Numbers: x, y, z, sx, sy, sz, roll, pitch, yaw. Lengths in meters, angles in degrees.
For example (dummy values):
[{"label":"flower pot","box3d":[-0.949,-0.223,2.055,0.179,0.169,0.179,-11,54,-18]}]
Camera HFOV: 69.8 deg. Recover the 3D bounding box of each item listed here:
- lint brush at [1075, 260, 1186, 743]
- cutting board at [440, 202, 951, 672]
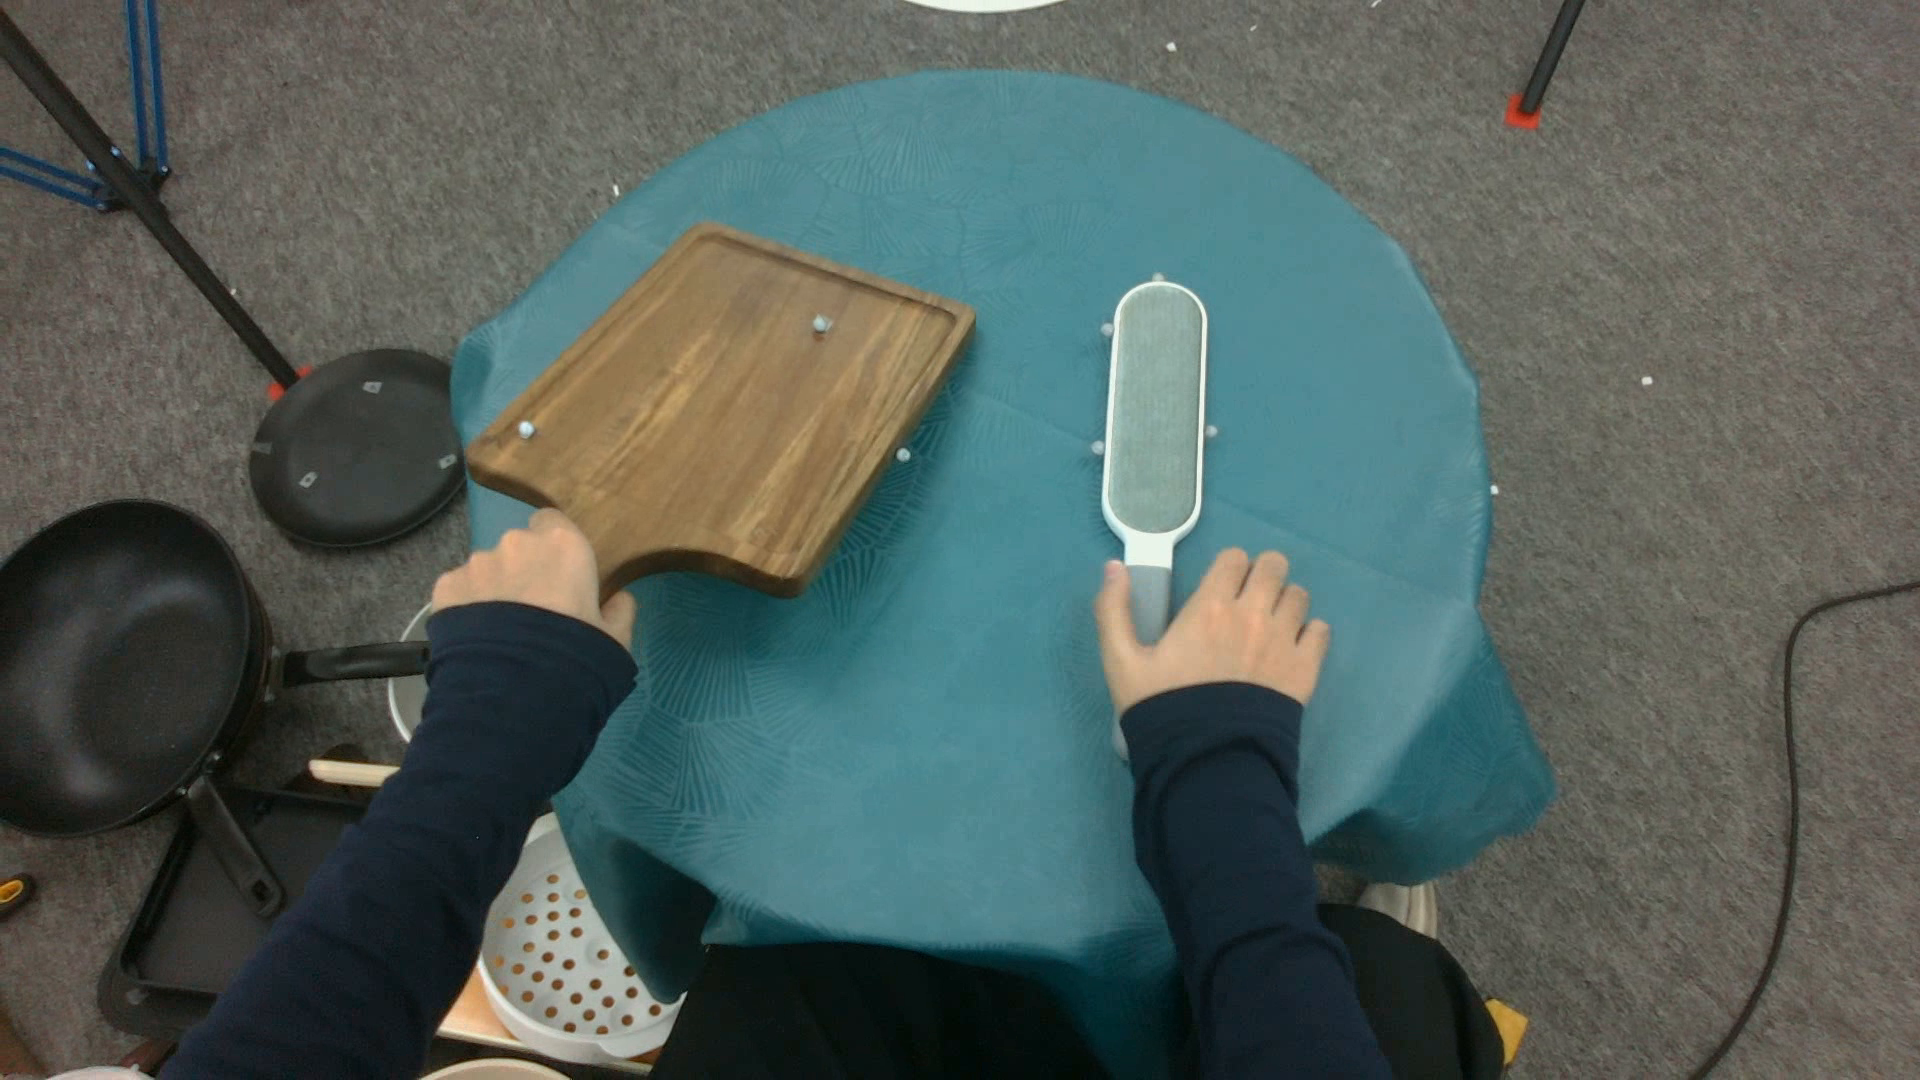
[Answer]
[{"label":"lint brush","box3d":[0.095,-0.033,0.784,0.060,0.021,0.310,7,64,-1]},{"label":"cutting board","box3d":[-0.156,-0.064,0.750,0.201,0.023,0.354,20,48,10]}]
